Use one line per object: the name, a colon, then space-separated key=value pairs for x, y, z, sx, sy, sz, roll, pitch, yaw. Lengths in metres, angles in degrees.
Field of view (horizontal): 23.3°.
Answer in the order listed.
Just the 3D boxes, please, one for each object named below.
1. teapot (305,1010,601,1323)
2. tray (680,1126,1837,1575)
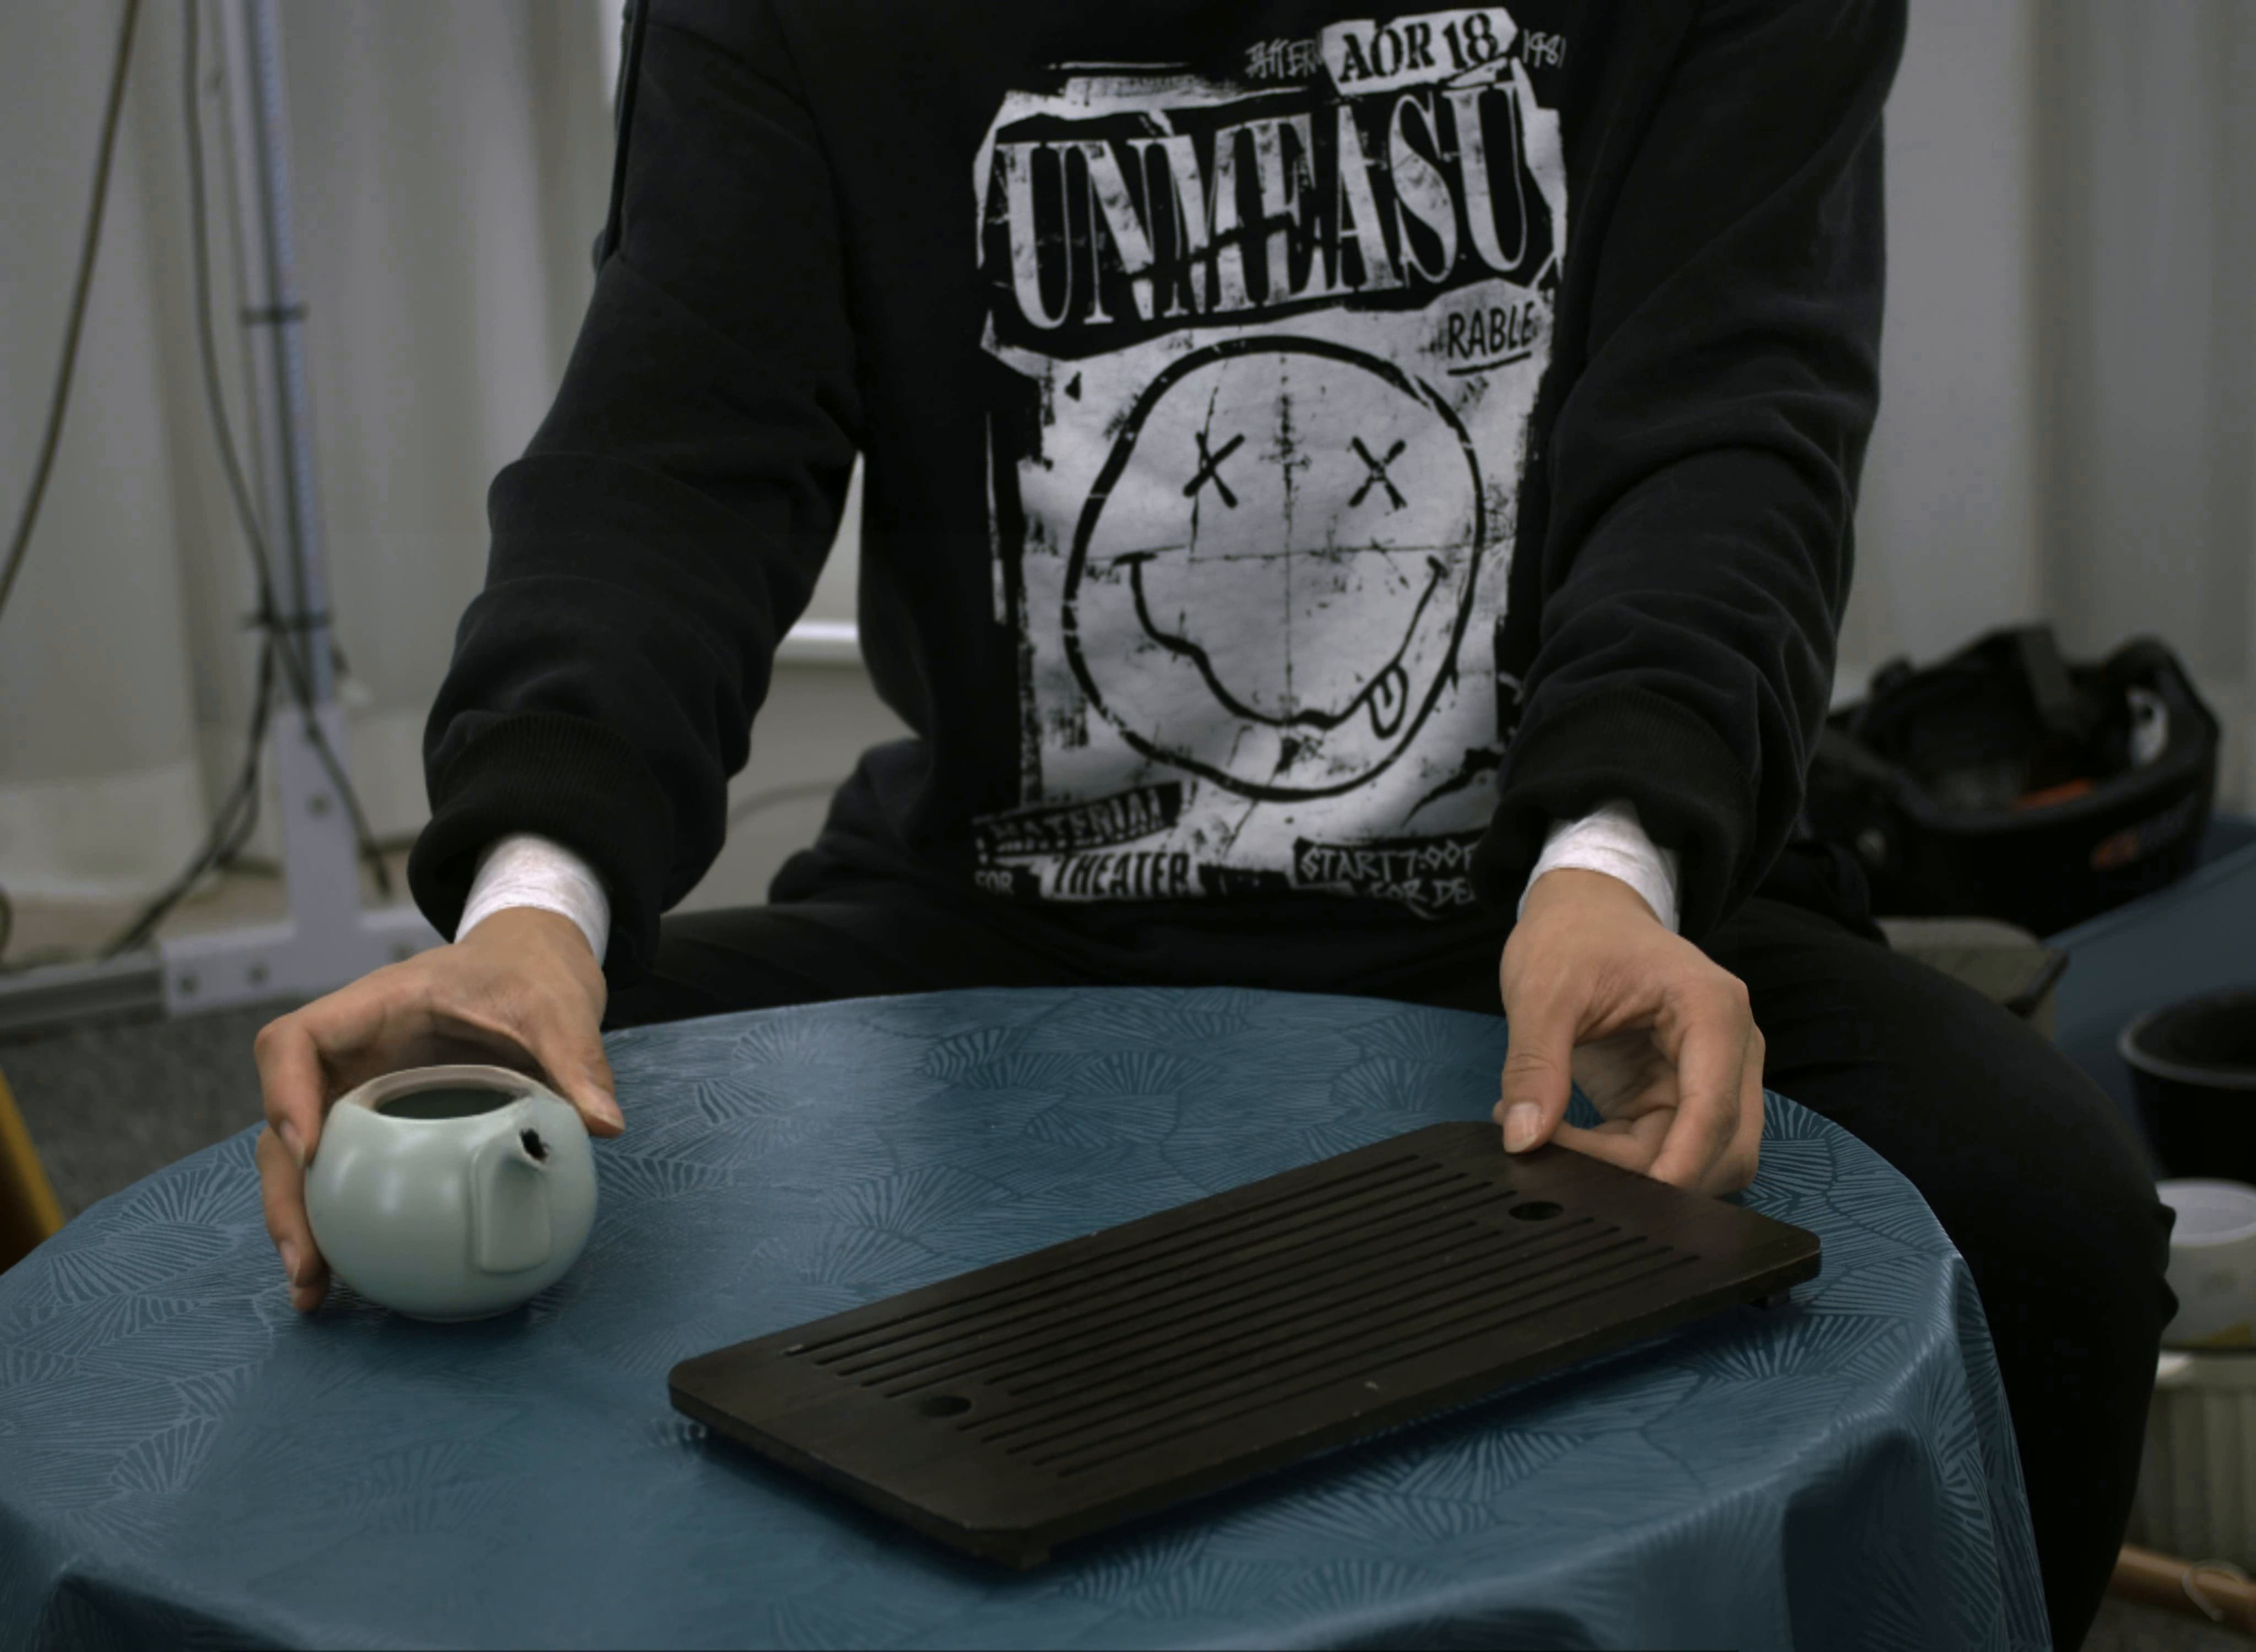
teapot: x=-0.202 y=0.107 z=1.638 sx=0.088 sy=0.074 sz=0.145 roll=-8 pitch=18 yaw=-27
tray: x=0.040 y=0.145 z=1.550 sx=0.305 sy=0.018 sz=0.171 roll=-14 pitch=18 yaw=-34
